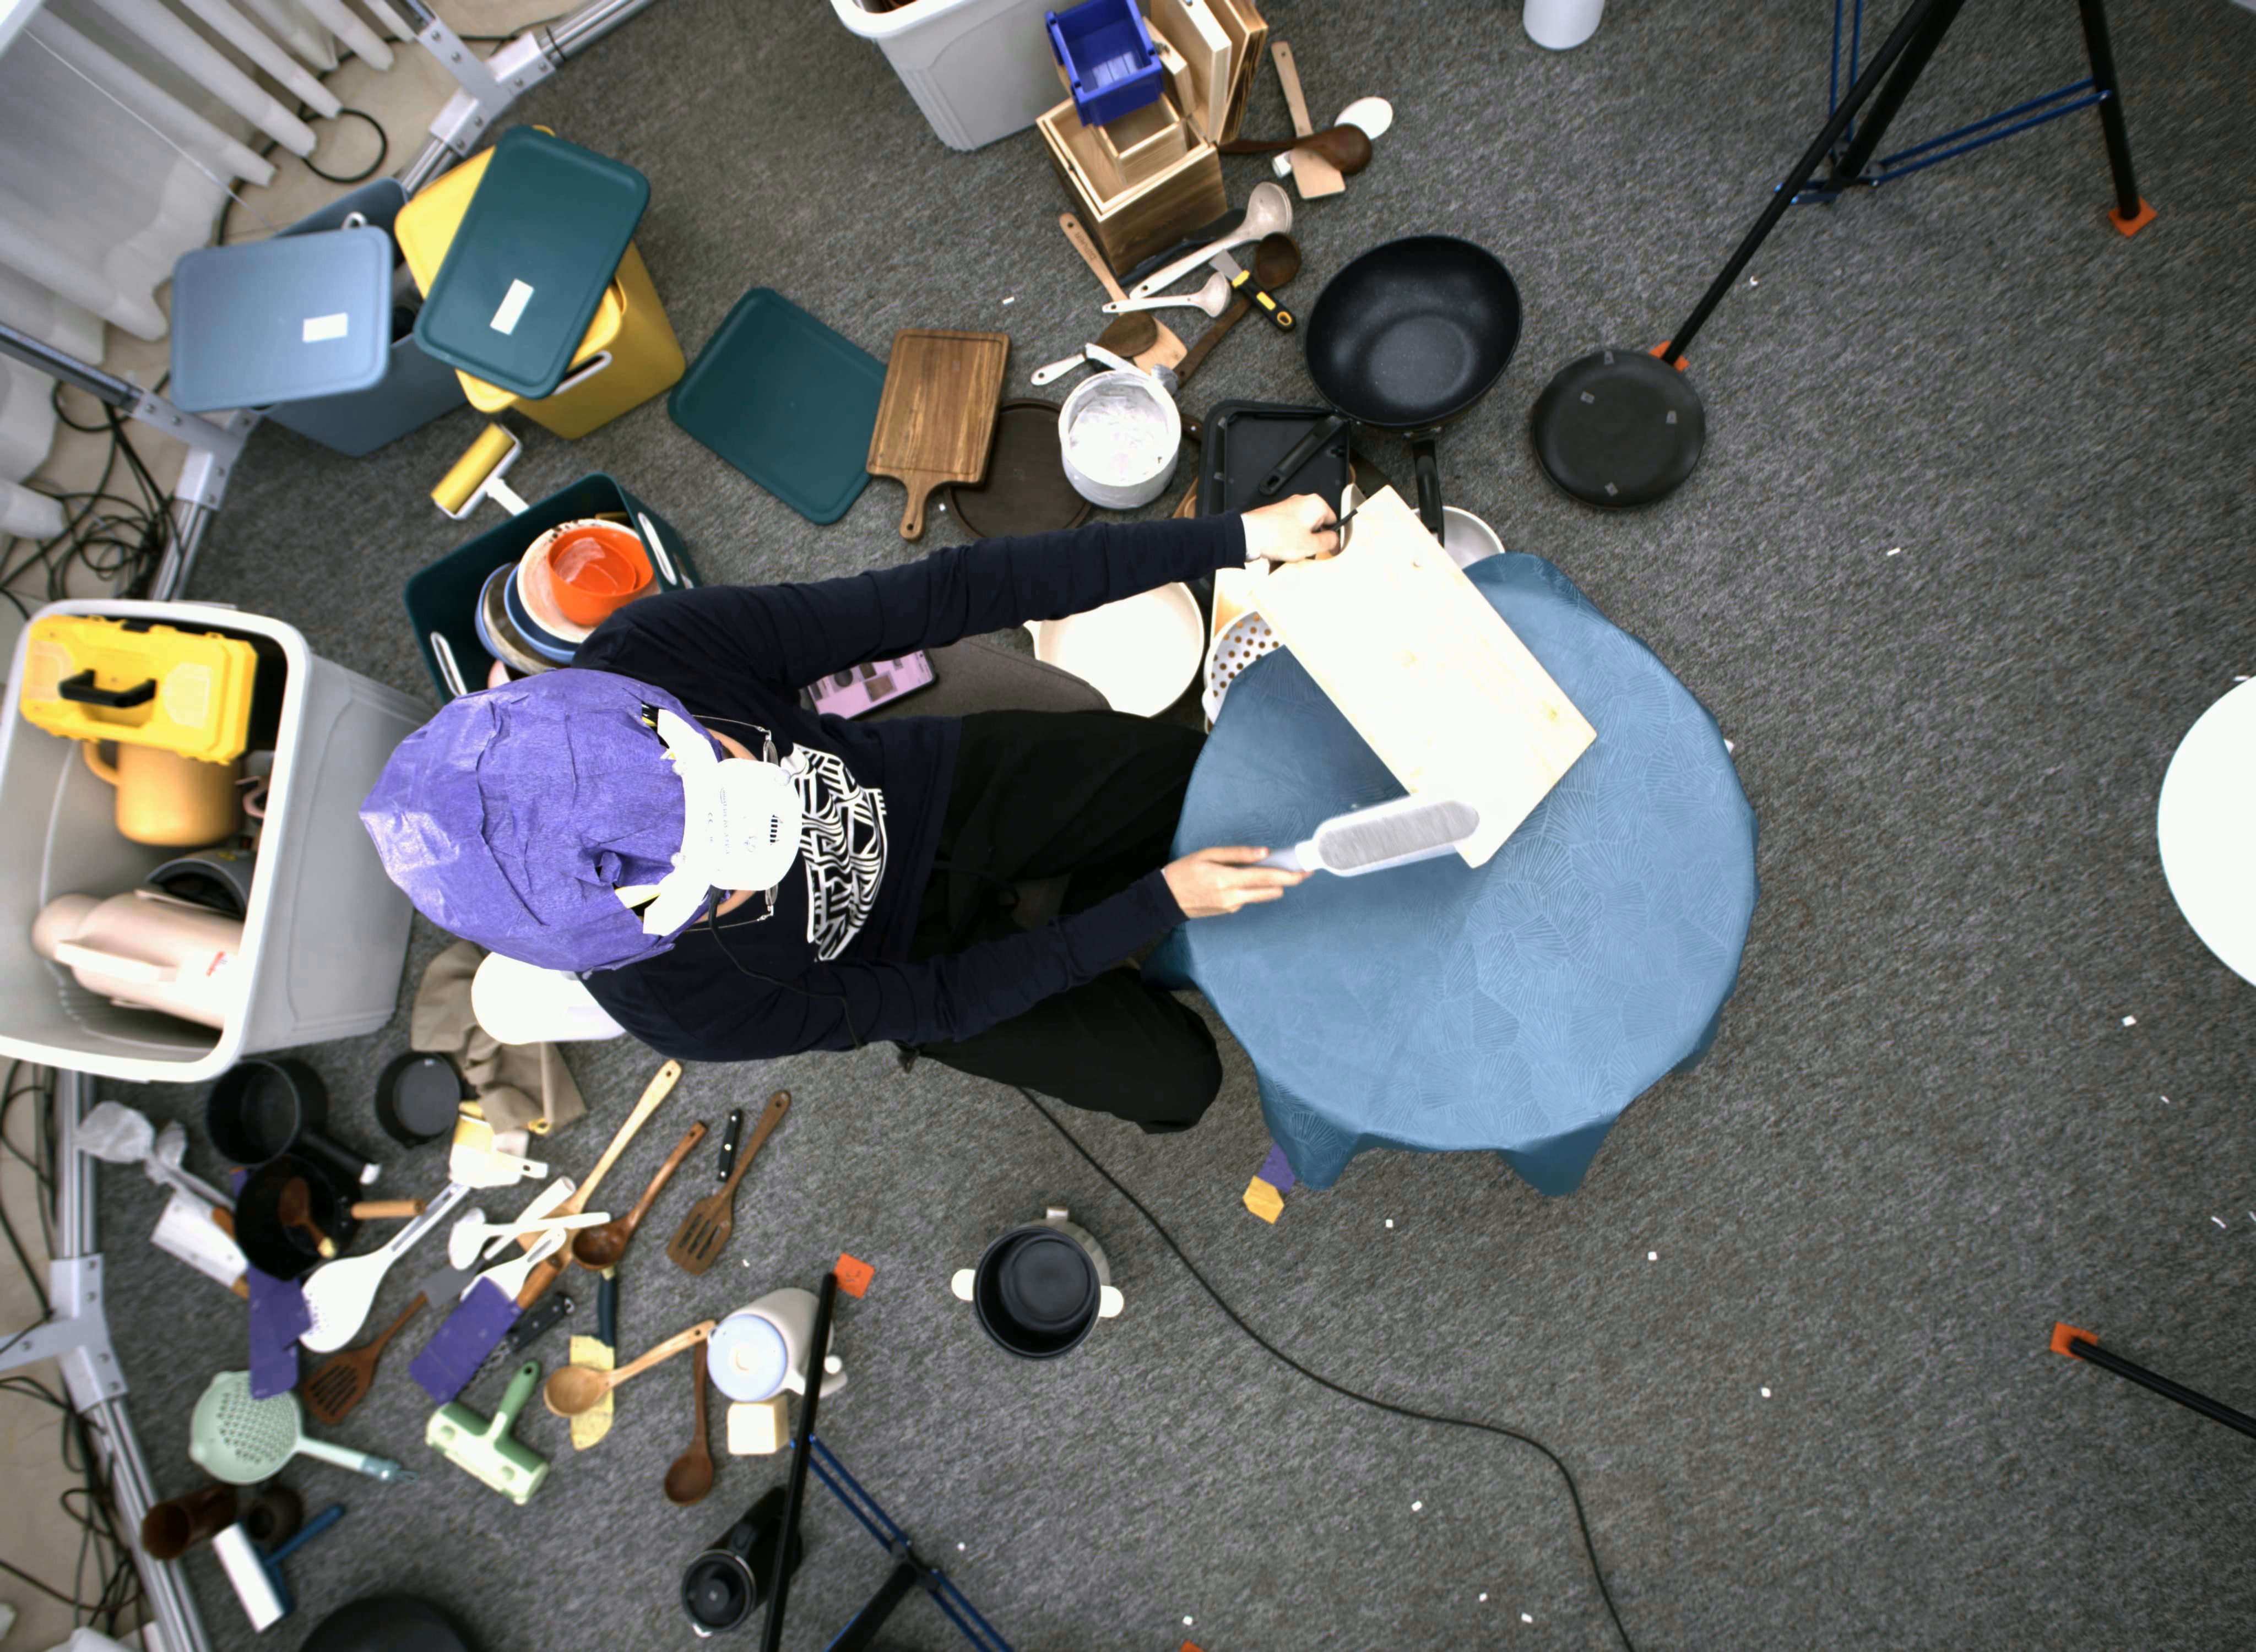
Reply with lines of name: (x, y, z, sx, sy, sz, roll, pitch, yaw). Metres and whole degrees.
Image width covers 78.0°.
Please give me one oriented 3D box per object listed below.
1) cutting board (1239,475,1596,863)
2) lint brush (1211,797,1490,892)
cutting board: (0.294, -0.162, 1.357, 0.349, 0.024, 0.245, 49, 59, -3)
lint brush: (0.209, 0.024, 1.352, 0.313, 0.020, 0.061, -16, 112, 37)
